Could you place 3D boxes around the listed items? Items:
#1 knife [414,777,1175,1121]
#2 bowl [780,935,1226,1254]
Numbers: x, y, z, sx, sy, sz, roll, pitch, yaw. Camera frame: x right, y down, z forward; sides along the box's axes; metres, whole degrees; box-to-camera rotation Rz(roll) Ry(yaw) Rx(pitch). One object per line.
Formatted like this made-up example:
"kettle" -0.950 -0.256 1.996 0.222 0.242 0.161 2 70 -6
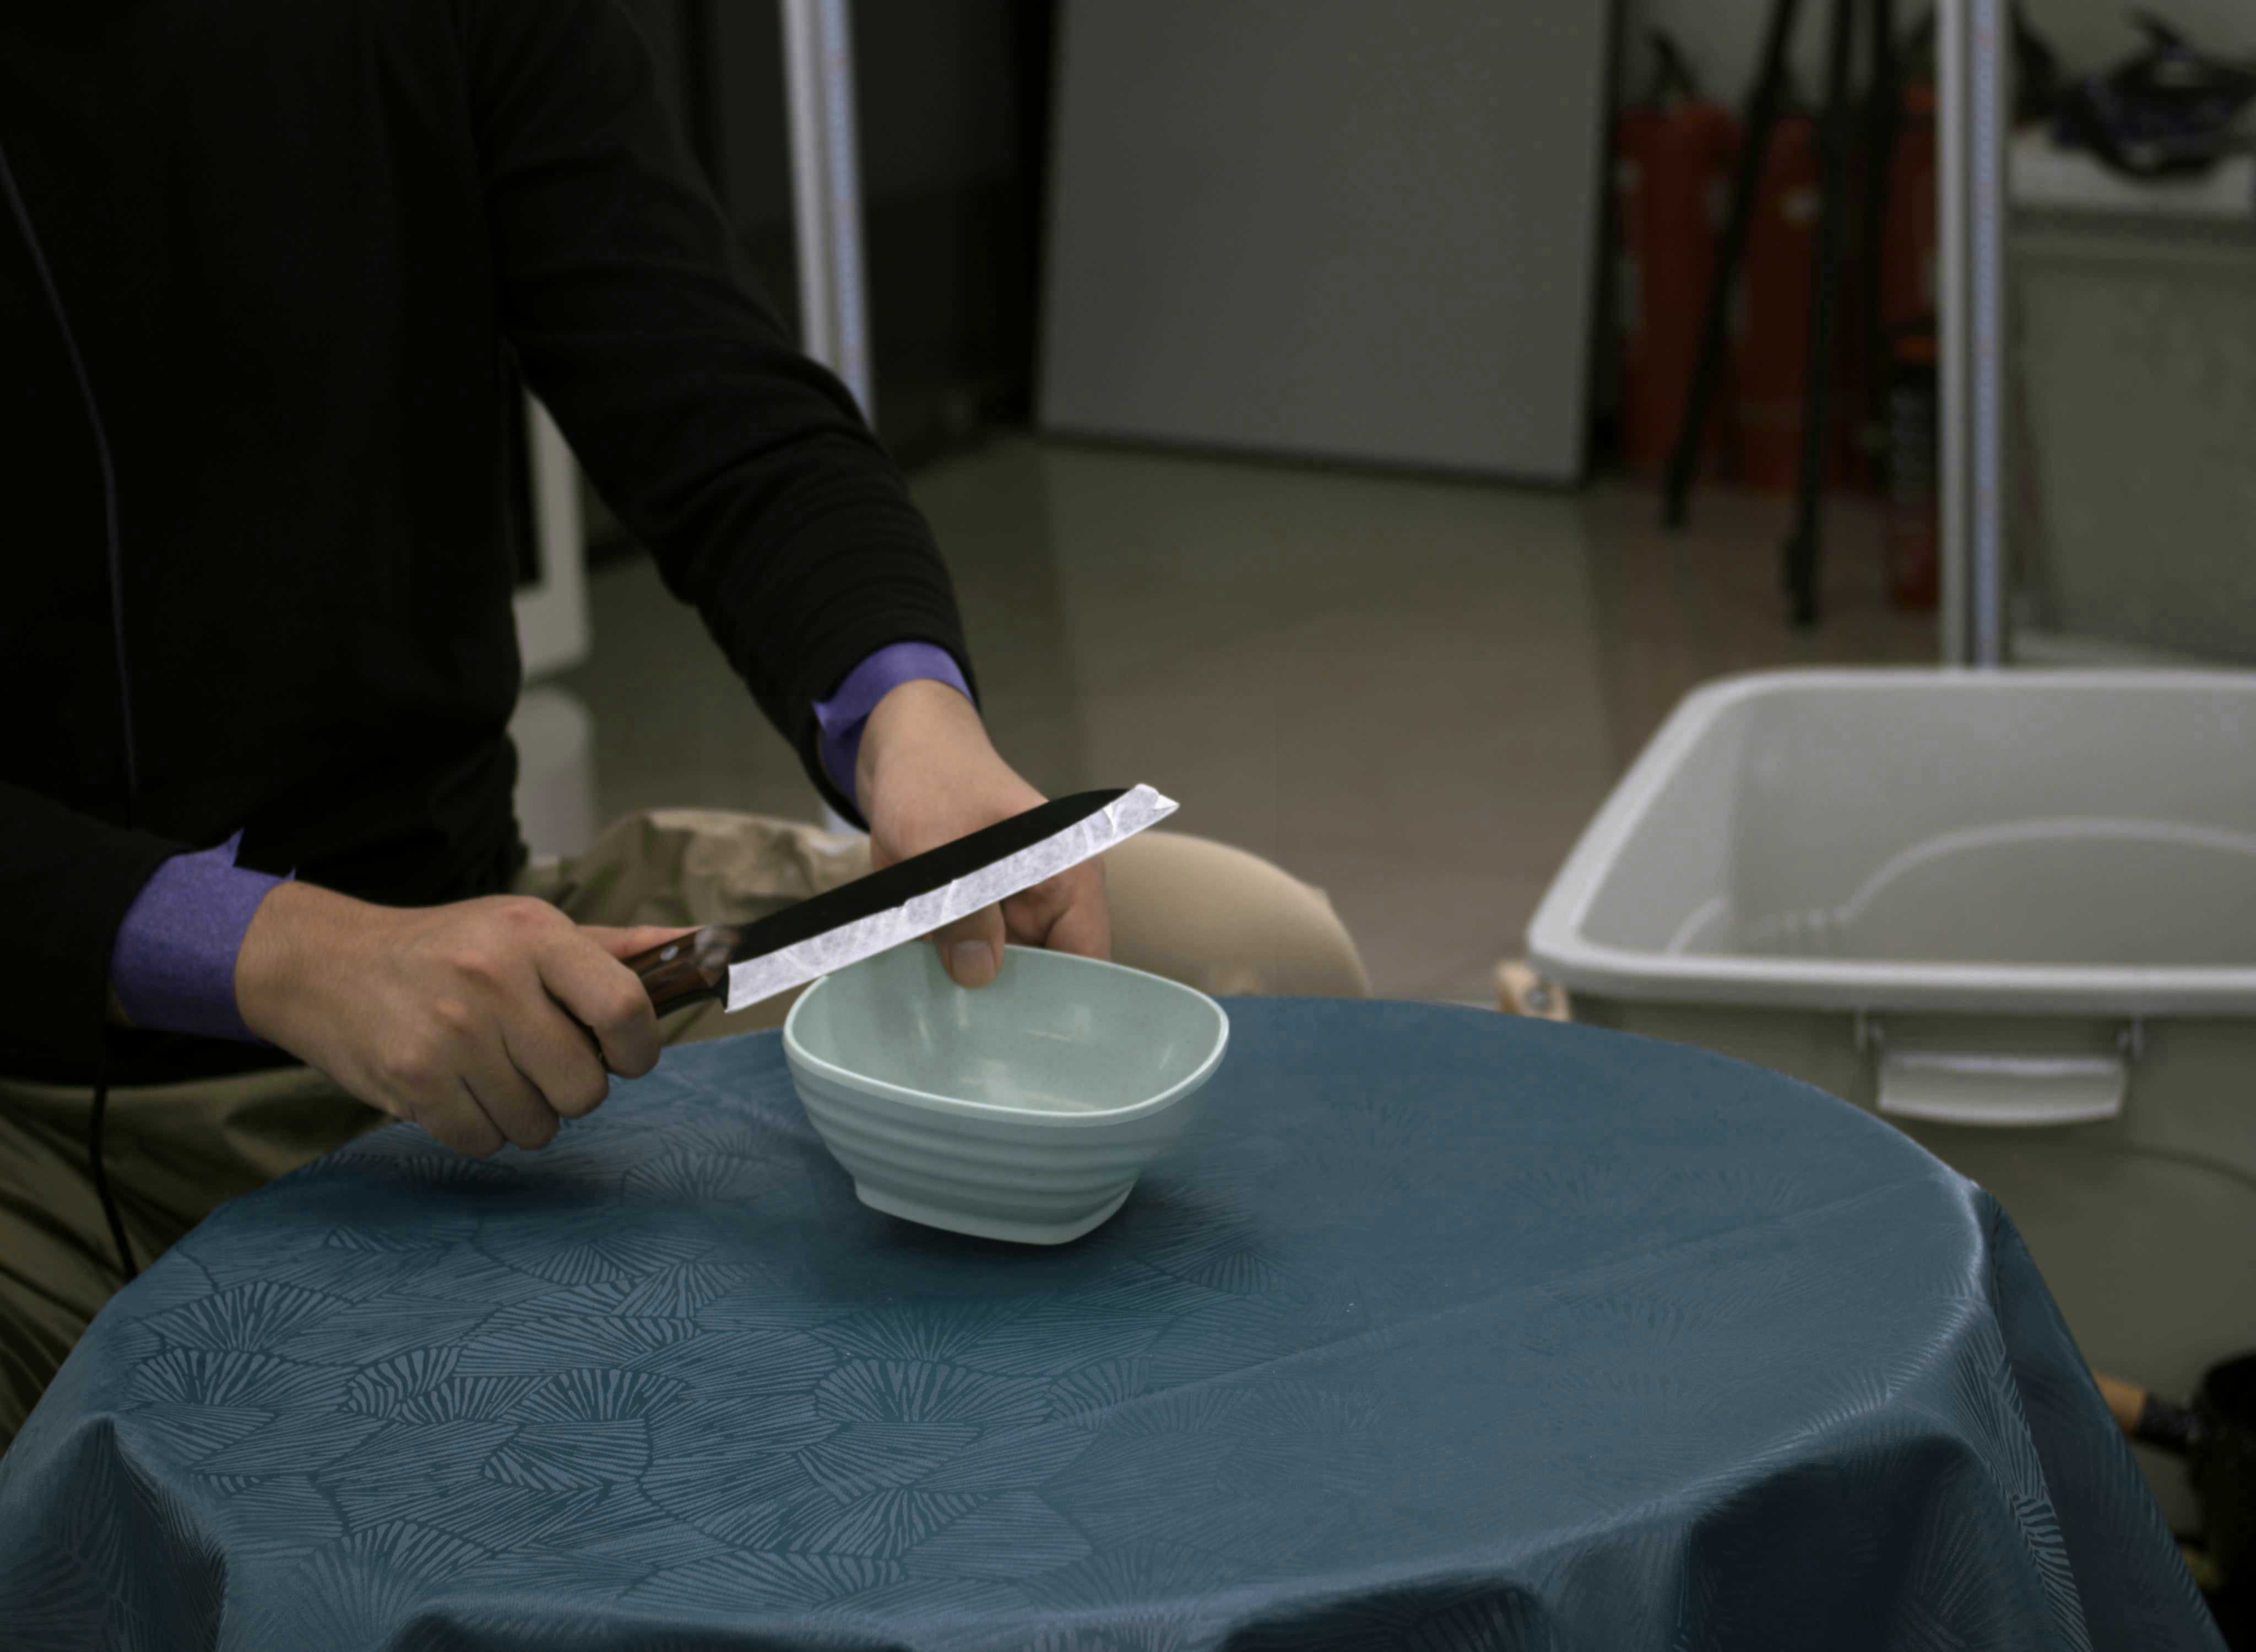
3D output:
"knife" -0.112 0.040 1.788 0.289 0.020 0.050 -22 36 18
"bowl" -0.042 0.091 1.745 0.149 0.059 0.152 5 21 -3
